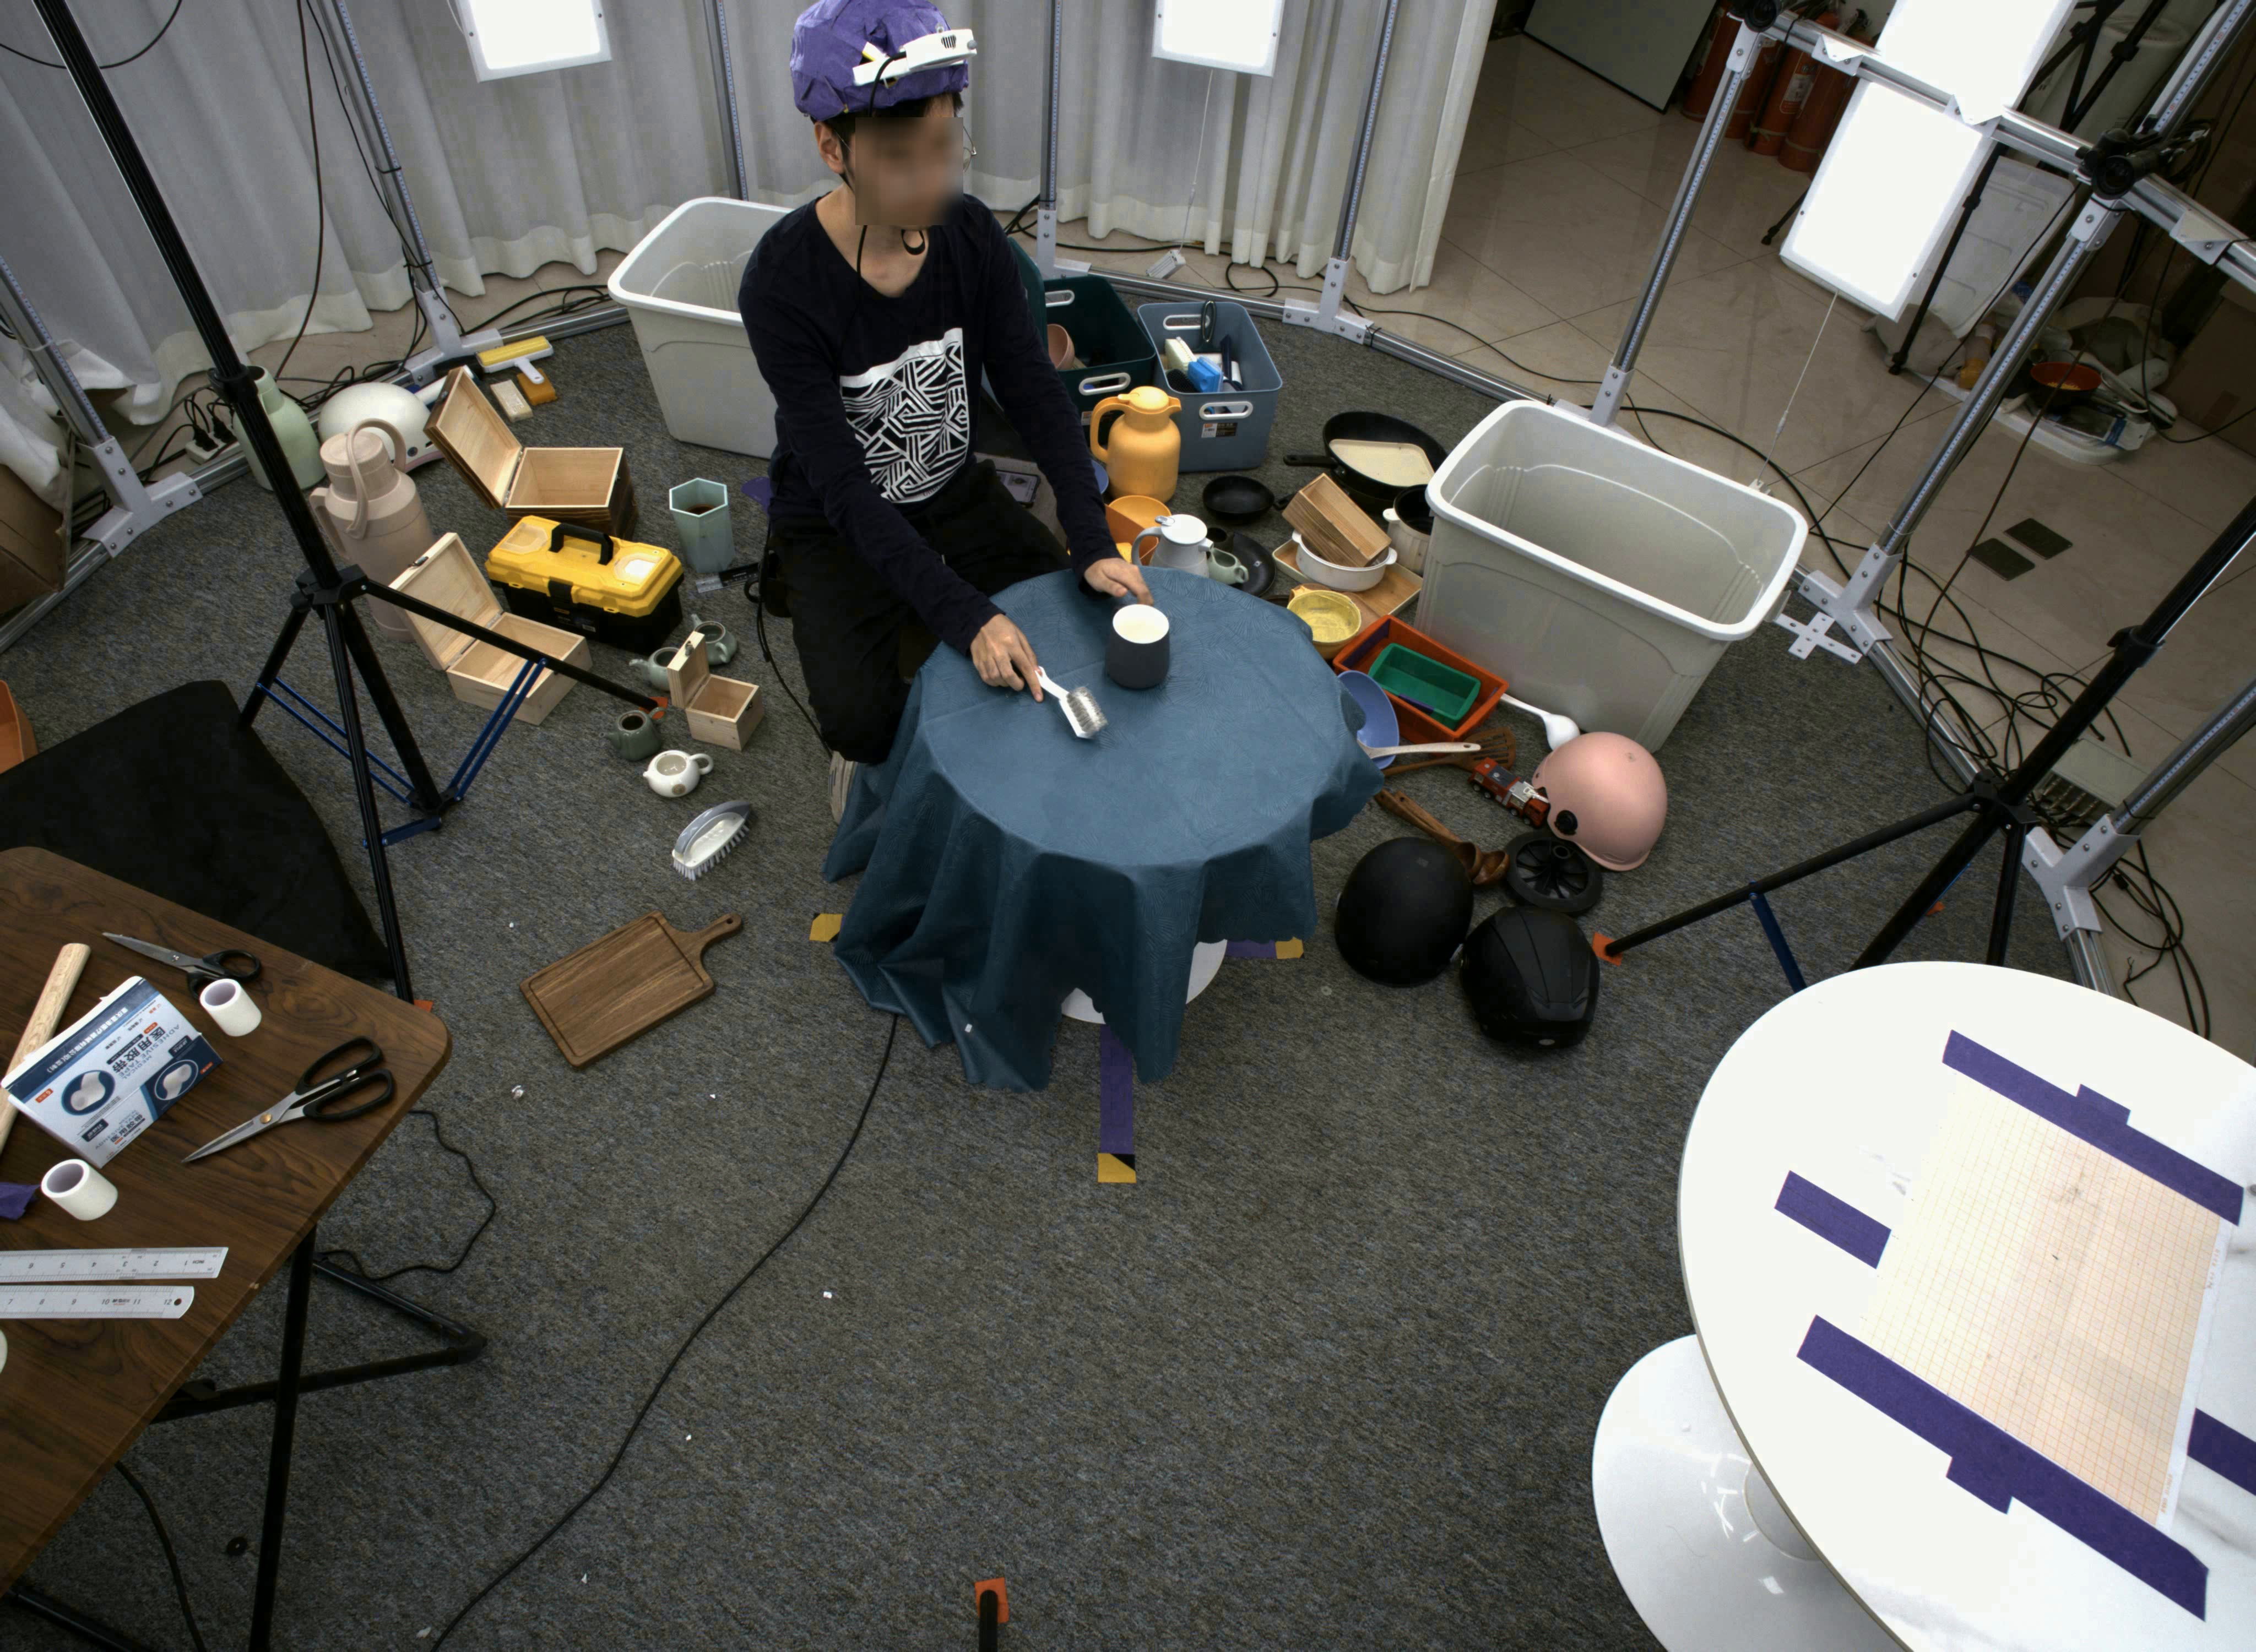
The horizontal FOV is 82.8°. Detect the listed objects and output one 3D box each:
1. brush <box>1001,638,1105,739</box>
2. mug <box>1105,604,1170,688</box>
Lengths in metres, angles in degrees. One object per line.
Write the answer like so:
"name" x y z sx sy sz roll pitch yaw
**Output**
"brush" -0.109 -0.210 1.812 0.034 0.049 0.249 -9 46 -36
"mug" 0.010 -0.267 1.840 0.093 0.088 0.126 -14 52 -18
